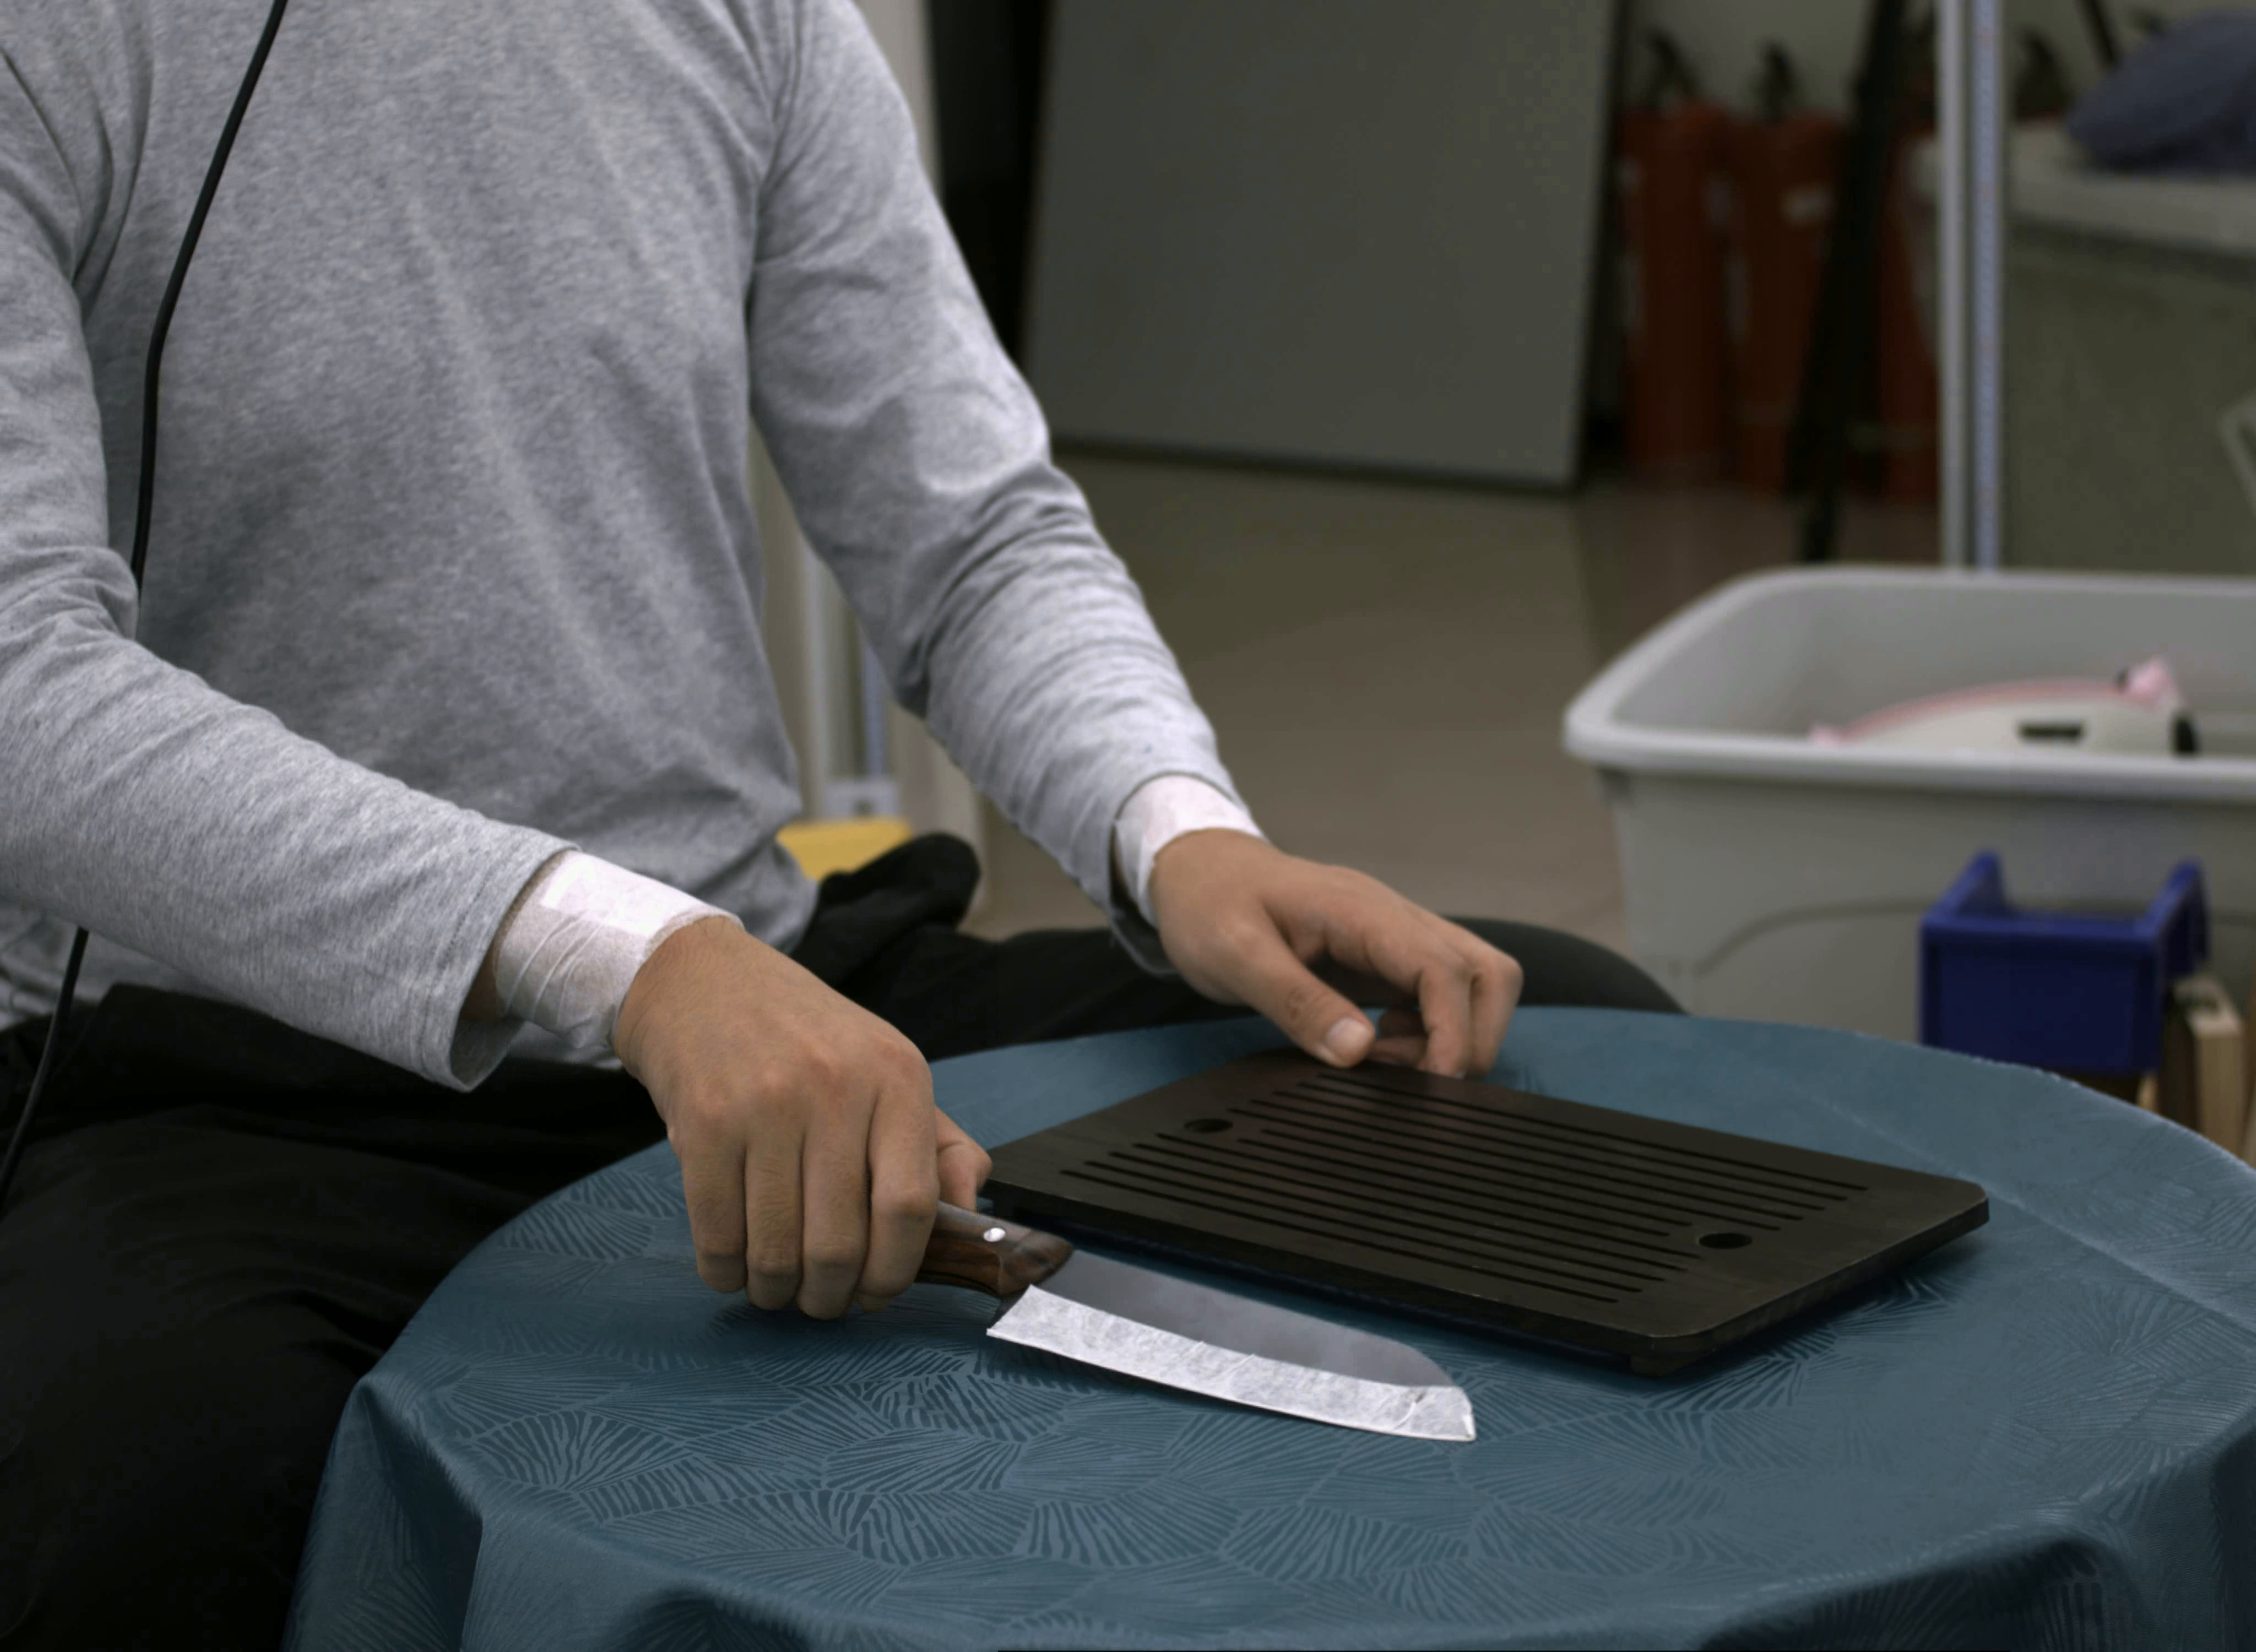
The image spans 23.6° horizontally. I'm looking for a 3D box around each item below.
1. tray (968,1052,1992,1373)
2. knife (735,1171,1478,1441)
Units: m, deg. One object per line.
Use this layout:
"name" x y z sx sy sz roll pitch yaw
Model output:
"tray" 0.108 0.120 1.713 0.309 0.019 0.166 9 19 44
"knife" -0.011 0.145 1.617 0.291 0.020 0.049 14 40 38
